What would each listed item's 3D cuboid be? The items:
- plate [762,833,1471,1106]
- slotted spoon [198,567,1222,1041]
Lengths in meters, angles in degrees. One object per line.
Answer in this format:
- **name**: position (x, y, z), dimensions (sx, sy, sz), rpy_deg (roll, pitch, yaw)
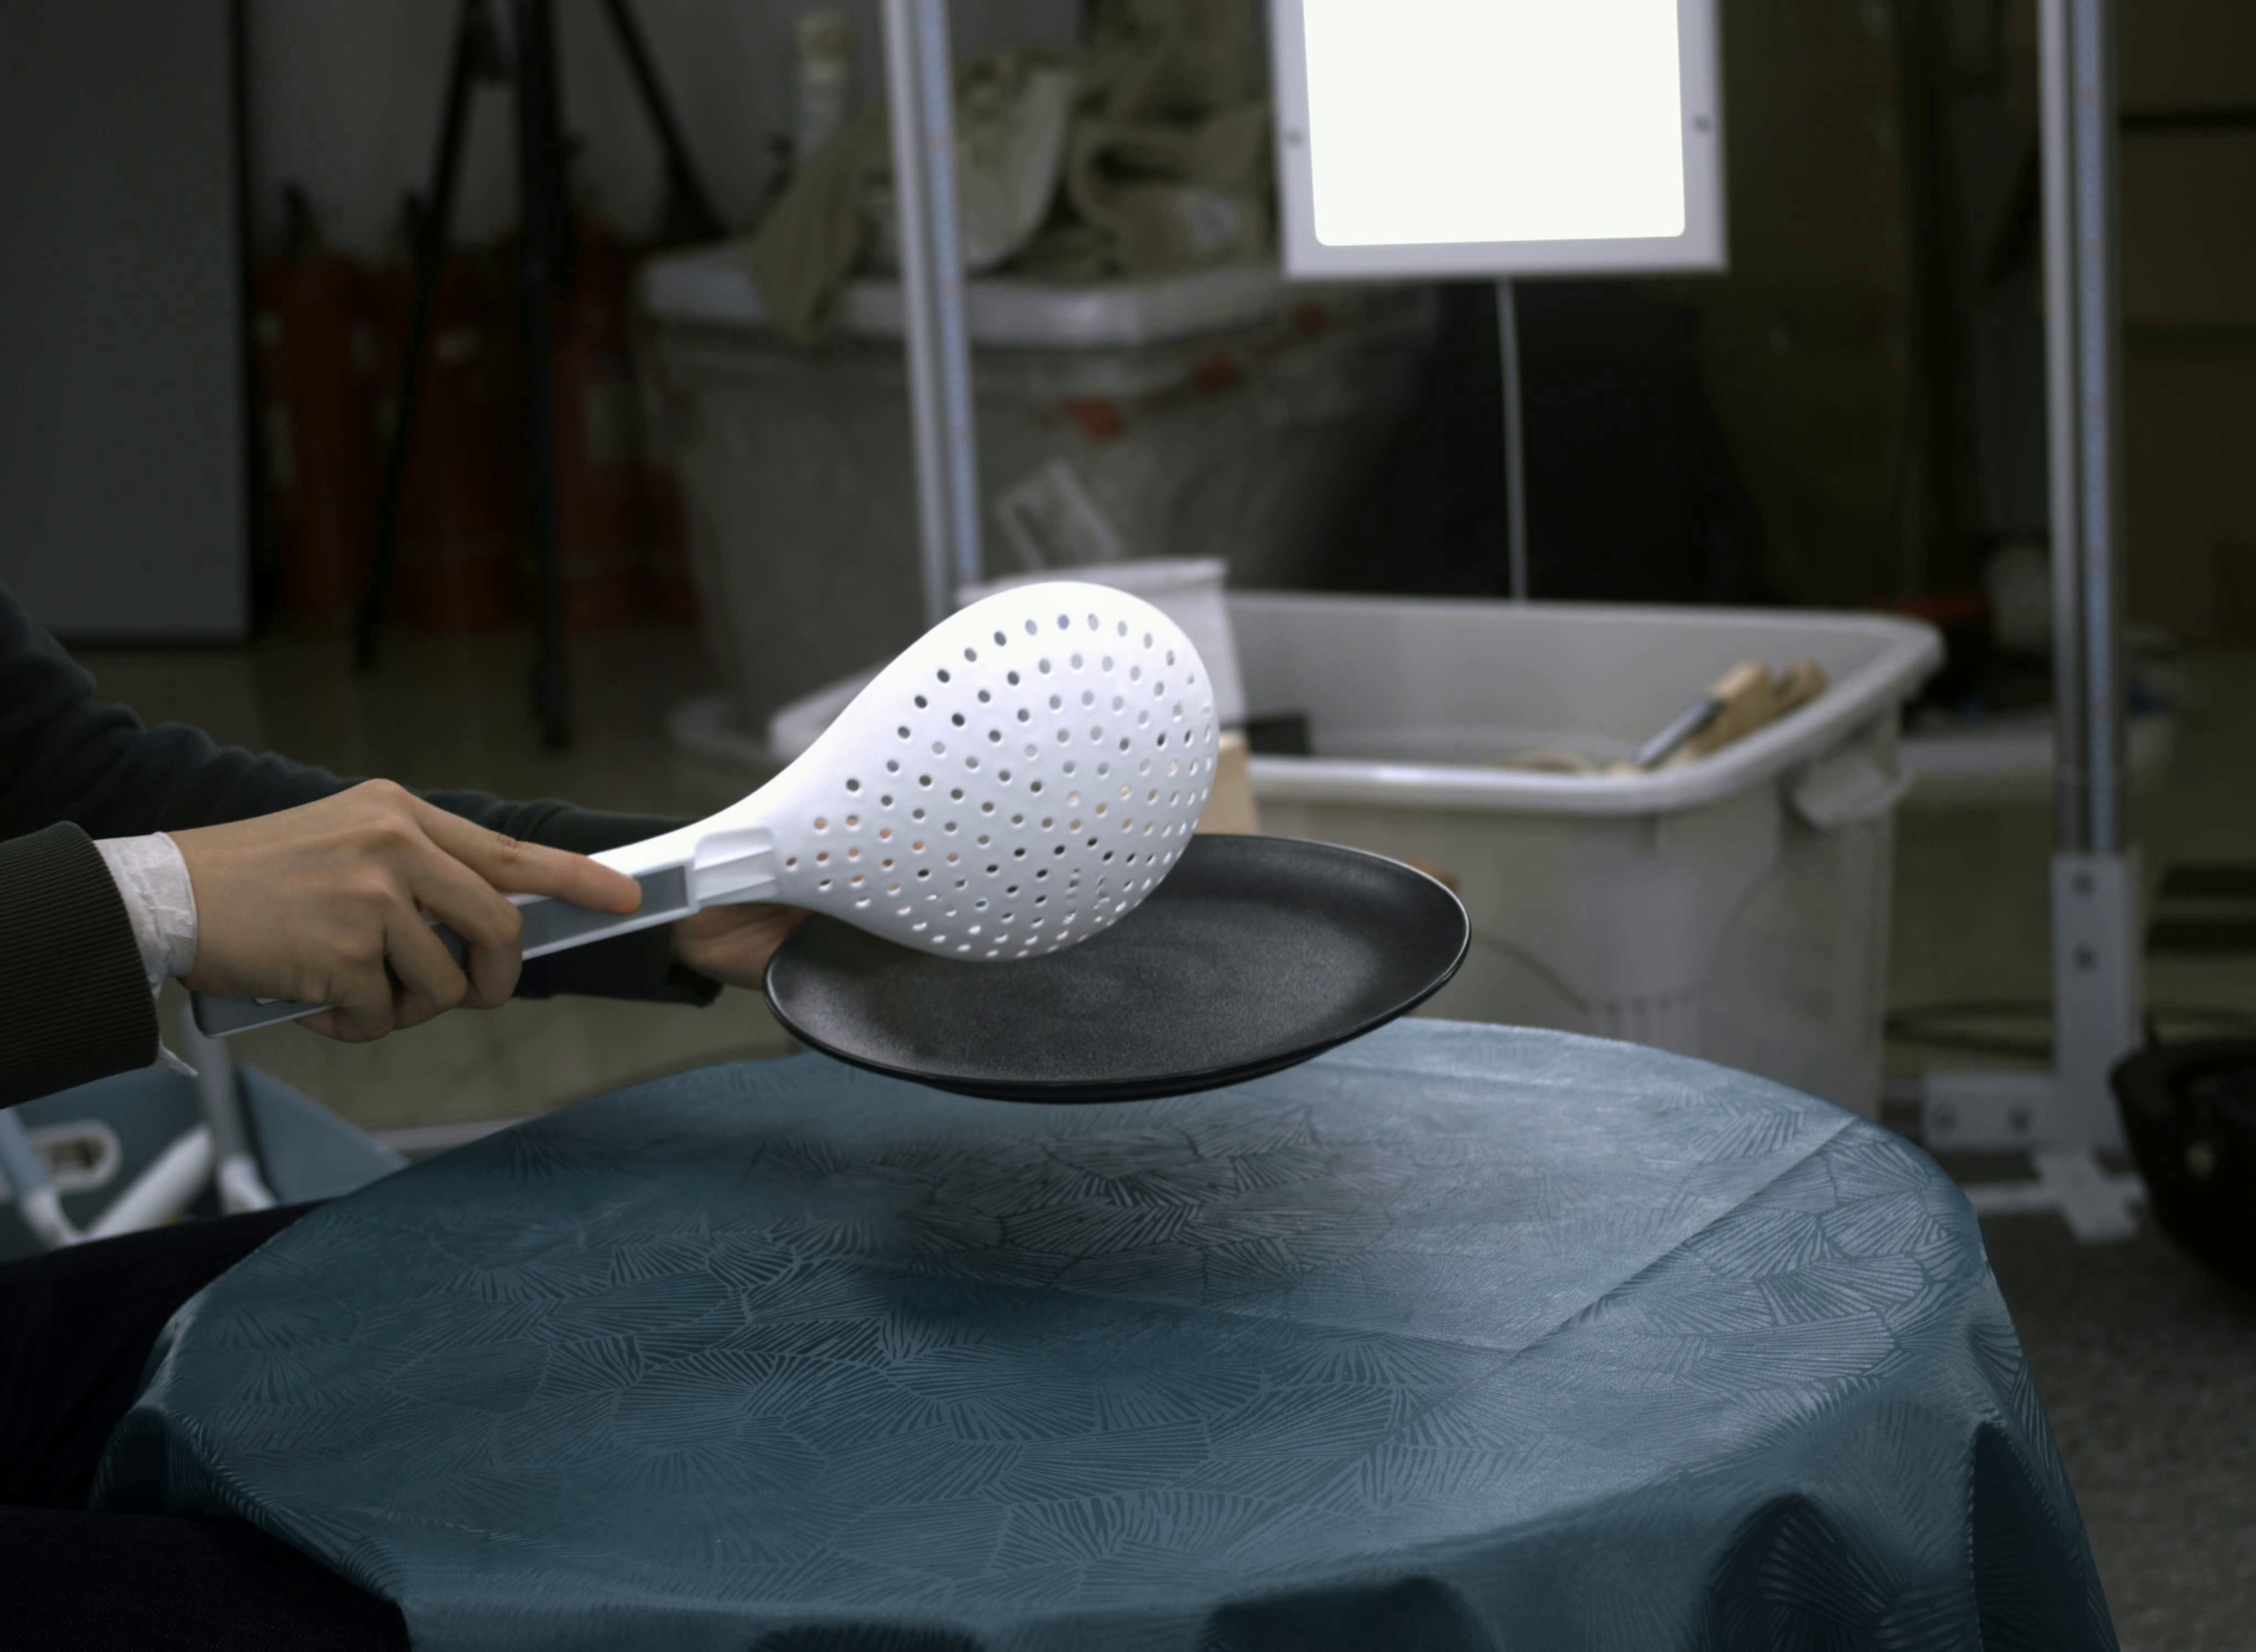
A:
- **plate**: position (-0.003, 0.052, 1.877), dimensions (0.244, 0.023, 0.244), rpy_deg (-5, 19, 0)
- **slotted spoon**: position (-0.126, 0.009, 1.754), dimensions (0.345, 0.136, 0.046), rpy_deg (-13, 29, -13)
